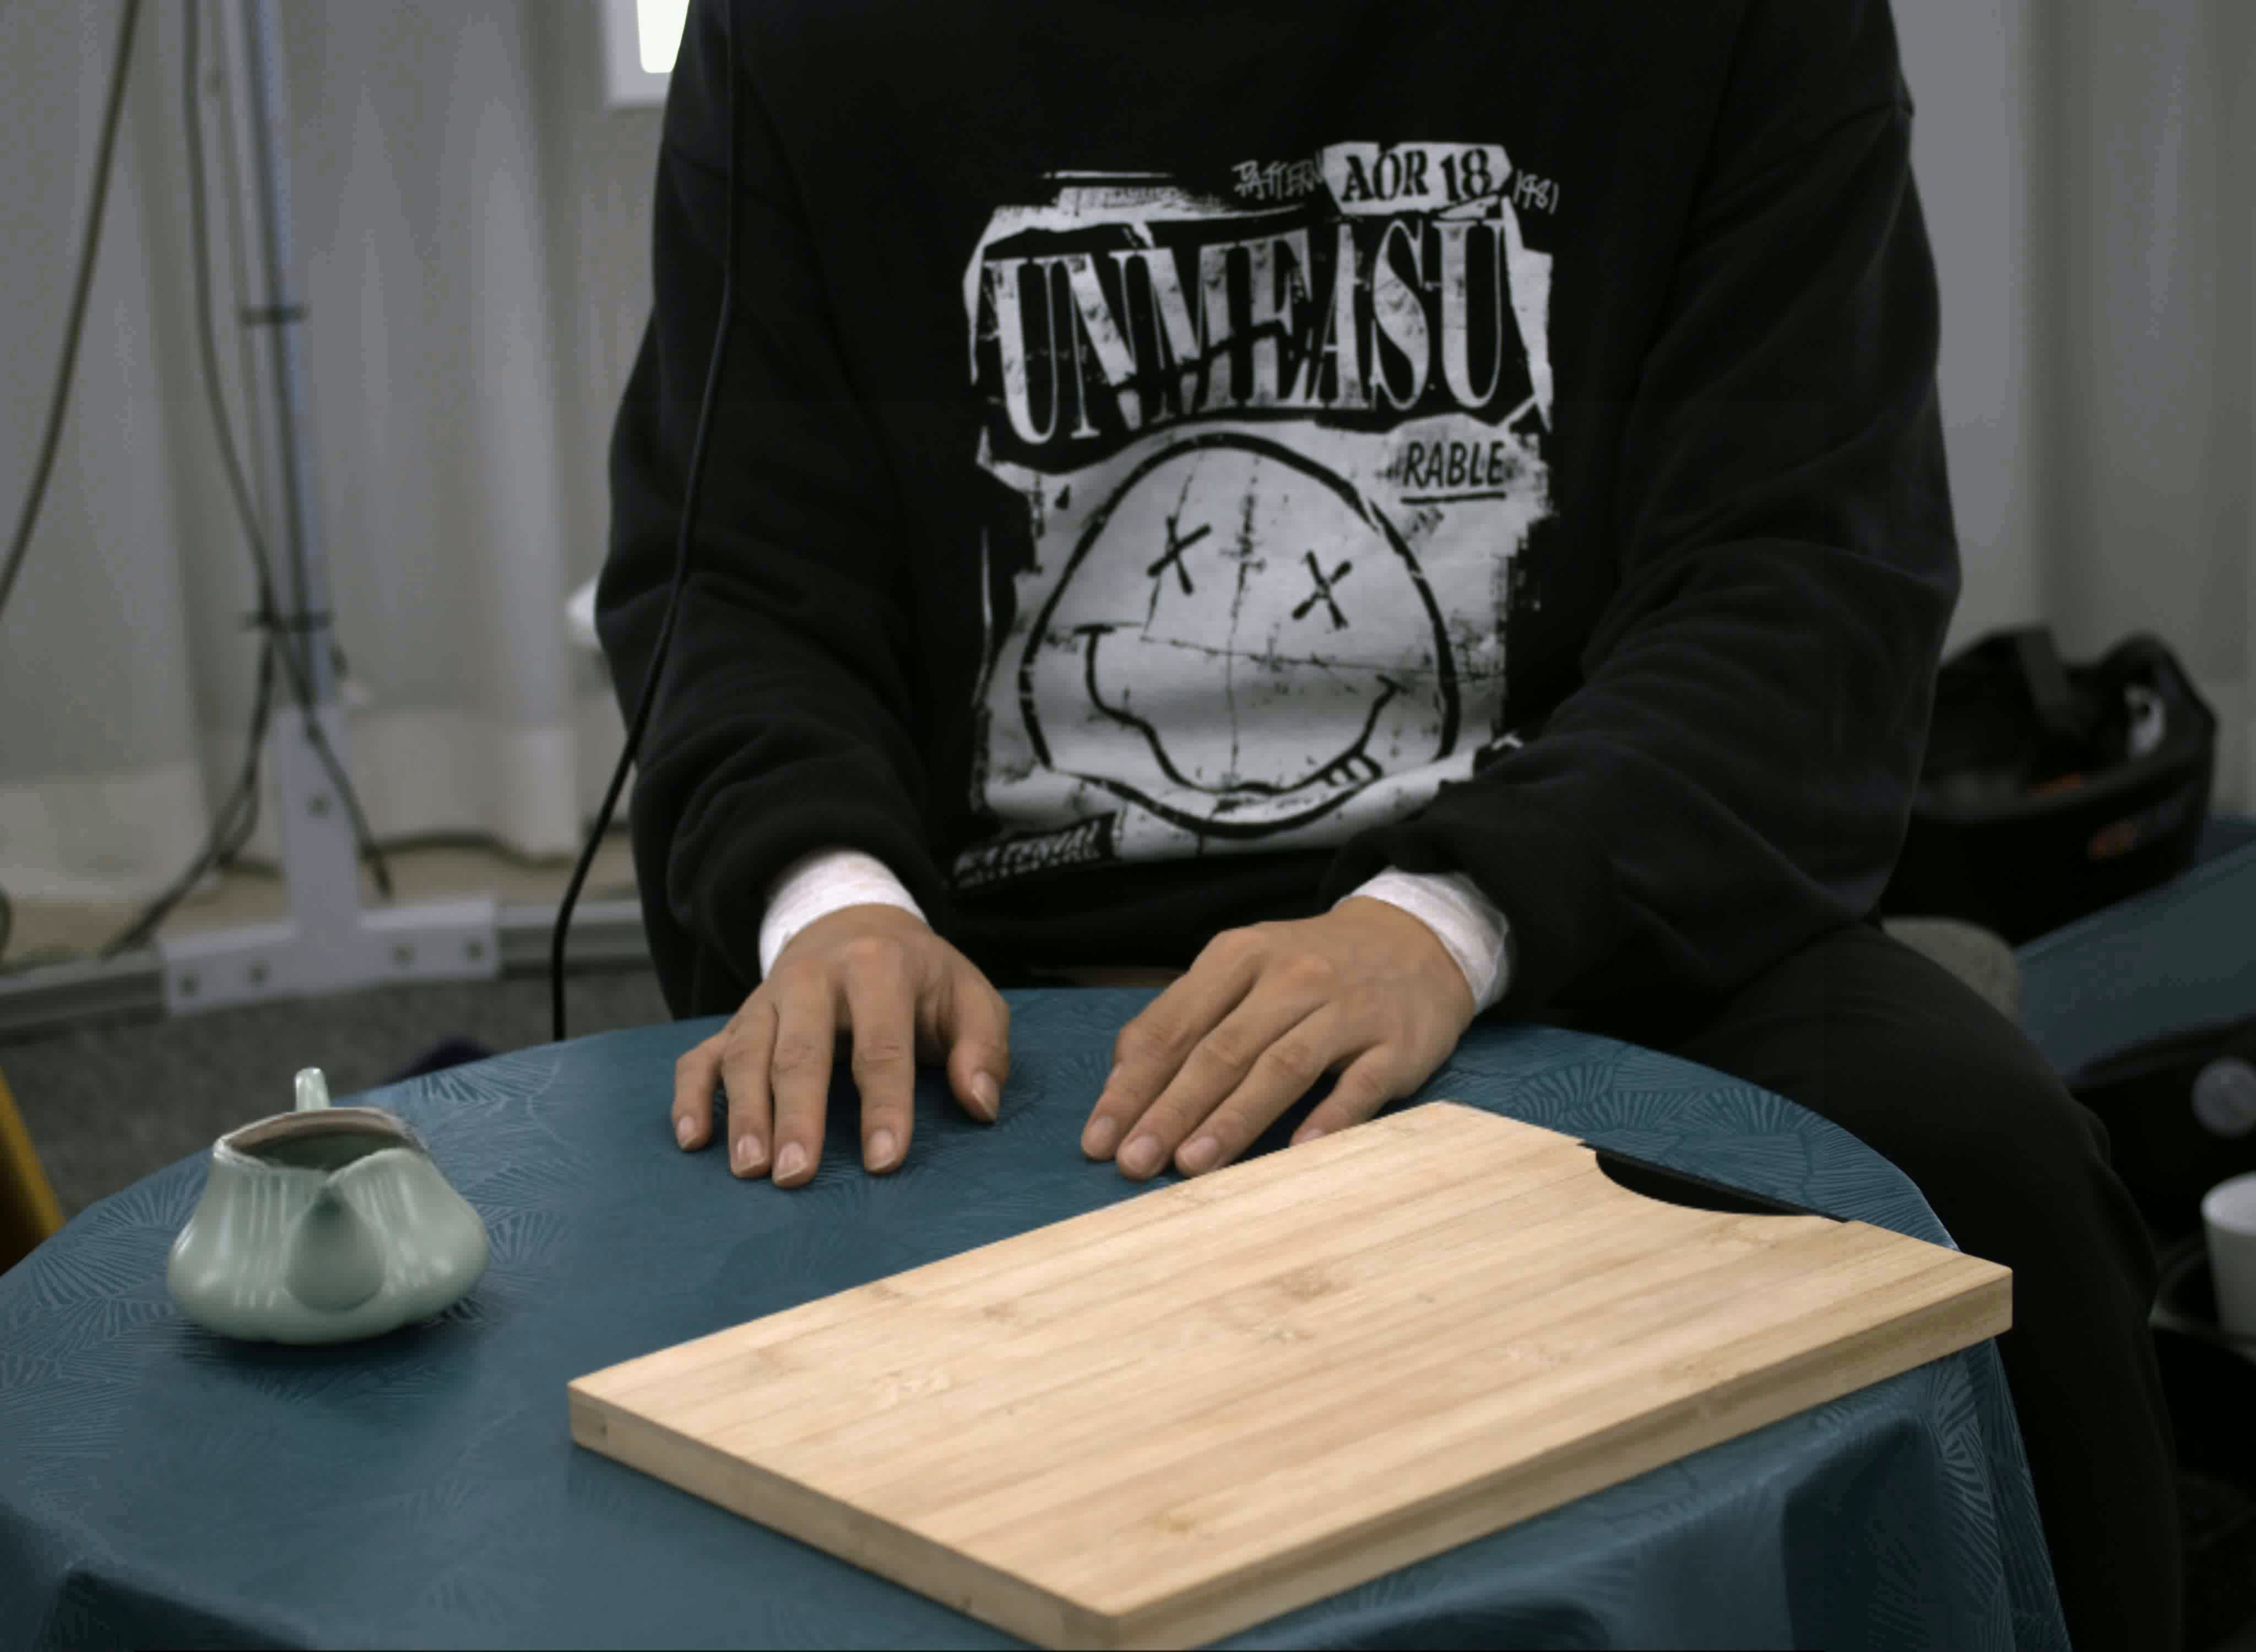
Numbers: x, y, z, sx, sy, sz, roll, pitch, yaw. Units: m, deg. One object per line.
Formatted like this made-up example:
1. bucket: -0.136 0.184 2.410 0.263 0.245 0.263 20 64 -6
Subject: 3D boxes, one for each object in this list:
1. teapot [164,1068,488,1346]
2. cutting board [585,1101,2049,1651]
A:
1. teapot: -0.241 0.117 1.635 0.096 0.061 0.138 -7 16 -12
2. cutting board: 0.053 0.149 1.543 0.348 0.023 0.252 -15 19 -39
